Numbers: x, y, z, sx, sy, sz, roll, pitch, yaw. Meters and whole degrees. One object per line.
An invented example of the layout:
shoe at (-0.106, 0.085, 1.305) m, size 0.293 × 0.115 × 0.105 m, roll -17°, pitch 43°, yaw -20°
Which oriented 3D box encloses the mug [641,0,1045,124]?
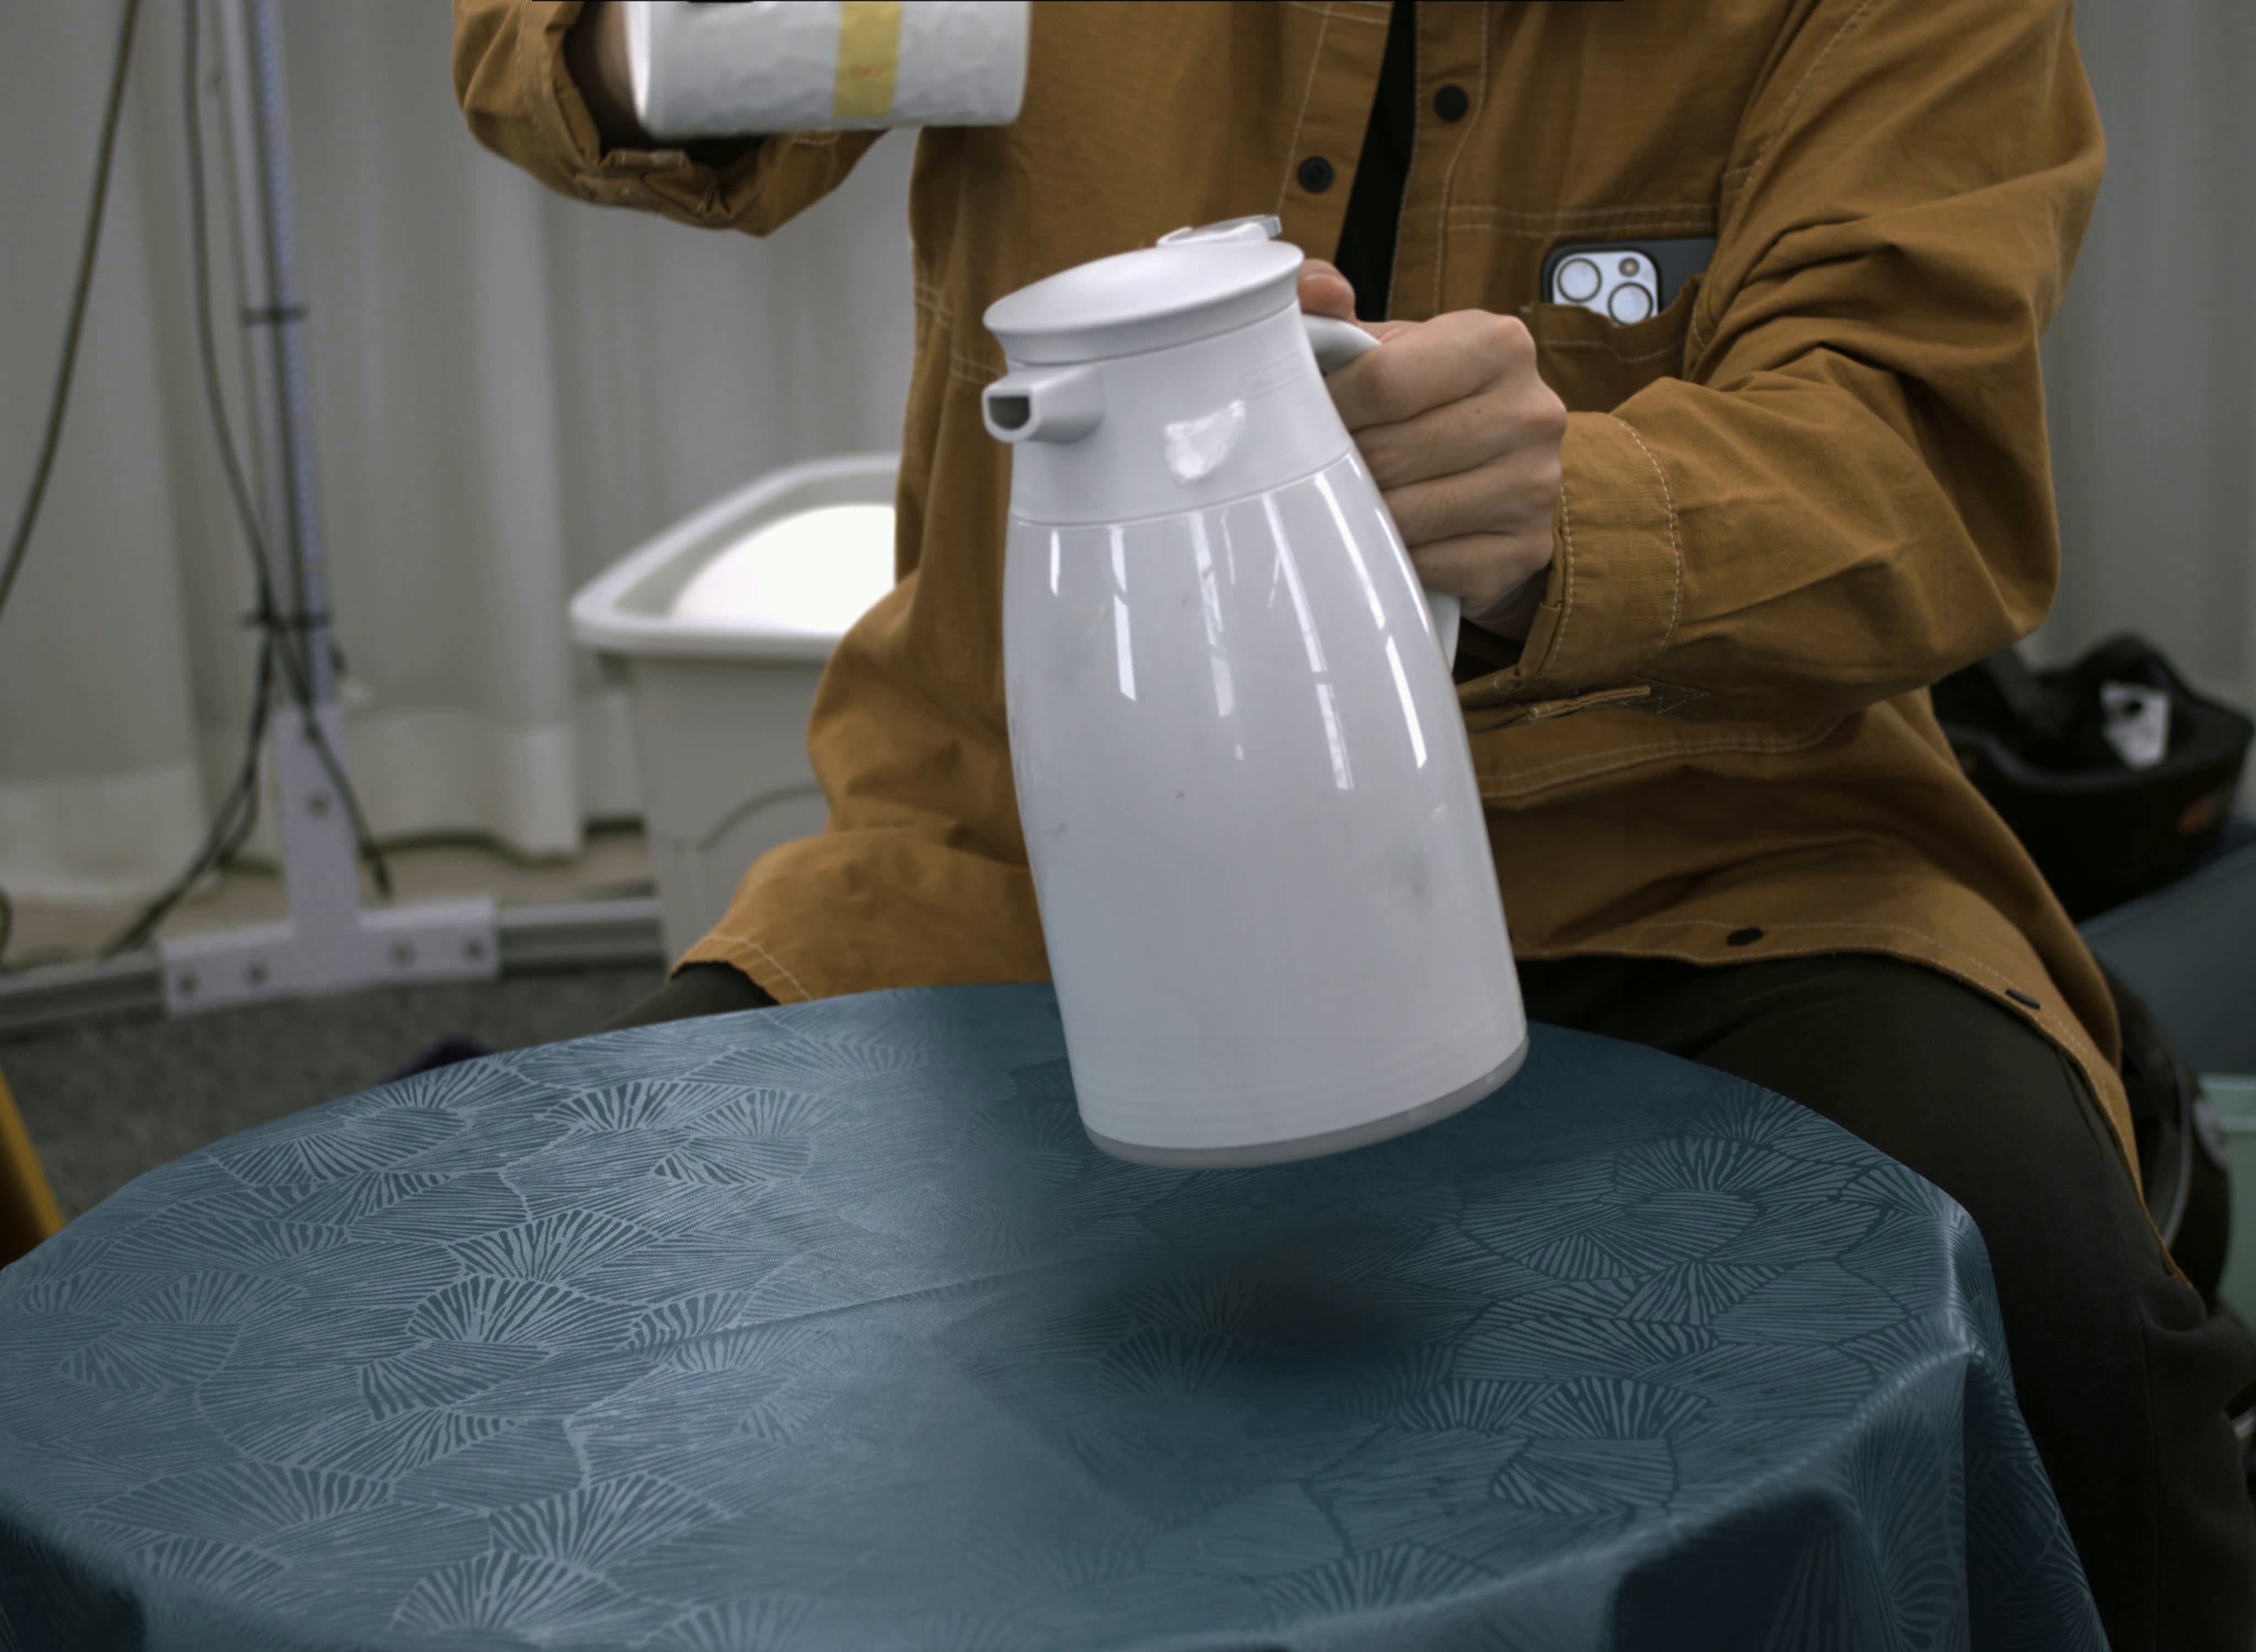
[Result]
mug at (-0.081, -0.240, 1.508) m, size 0.101 × 0.084 × 0.119 m, roll 0°, pitch 18°, yaw -10°

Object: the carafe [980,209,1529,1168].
carafe at (0.037, -0.048, 1.567) m, size 0.133 × 0.248 × 0.168 m, roll -1°, pitch 17°, yaw 41°
